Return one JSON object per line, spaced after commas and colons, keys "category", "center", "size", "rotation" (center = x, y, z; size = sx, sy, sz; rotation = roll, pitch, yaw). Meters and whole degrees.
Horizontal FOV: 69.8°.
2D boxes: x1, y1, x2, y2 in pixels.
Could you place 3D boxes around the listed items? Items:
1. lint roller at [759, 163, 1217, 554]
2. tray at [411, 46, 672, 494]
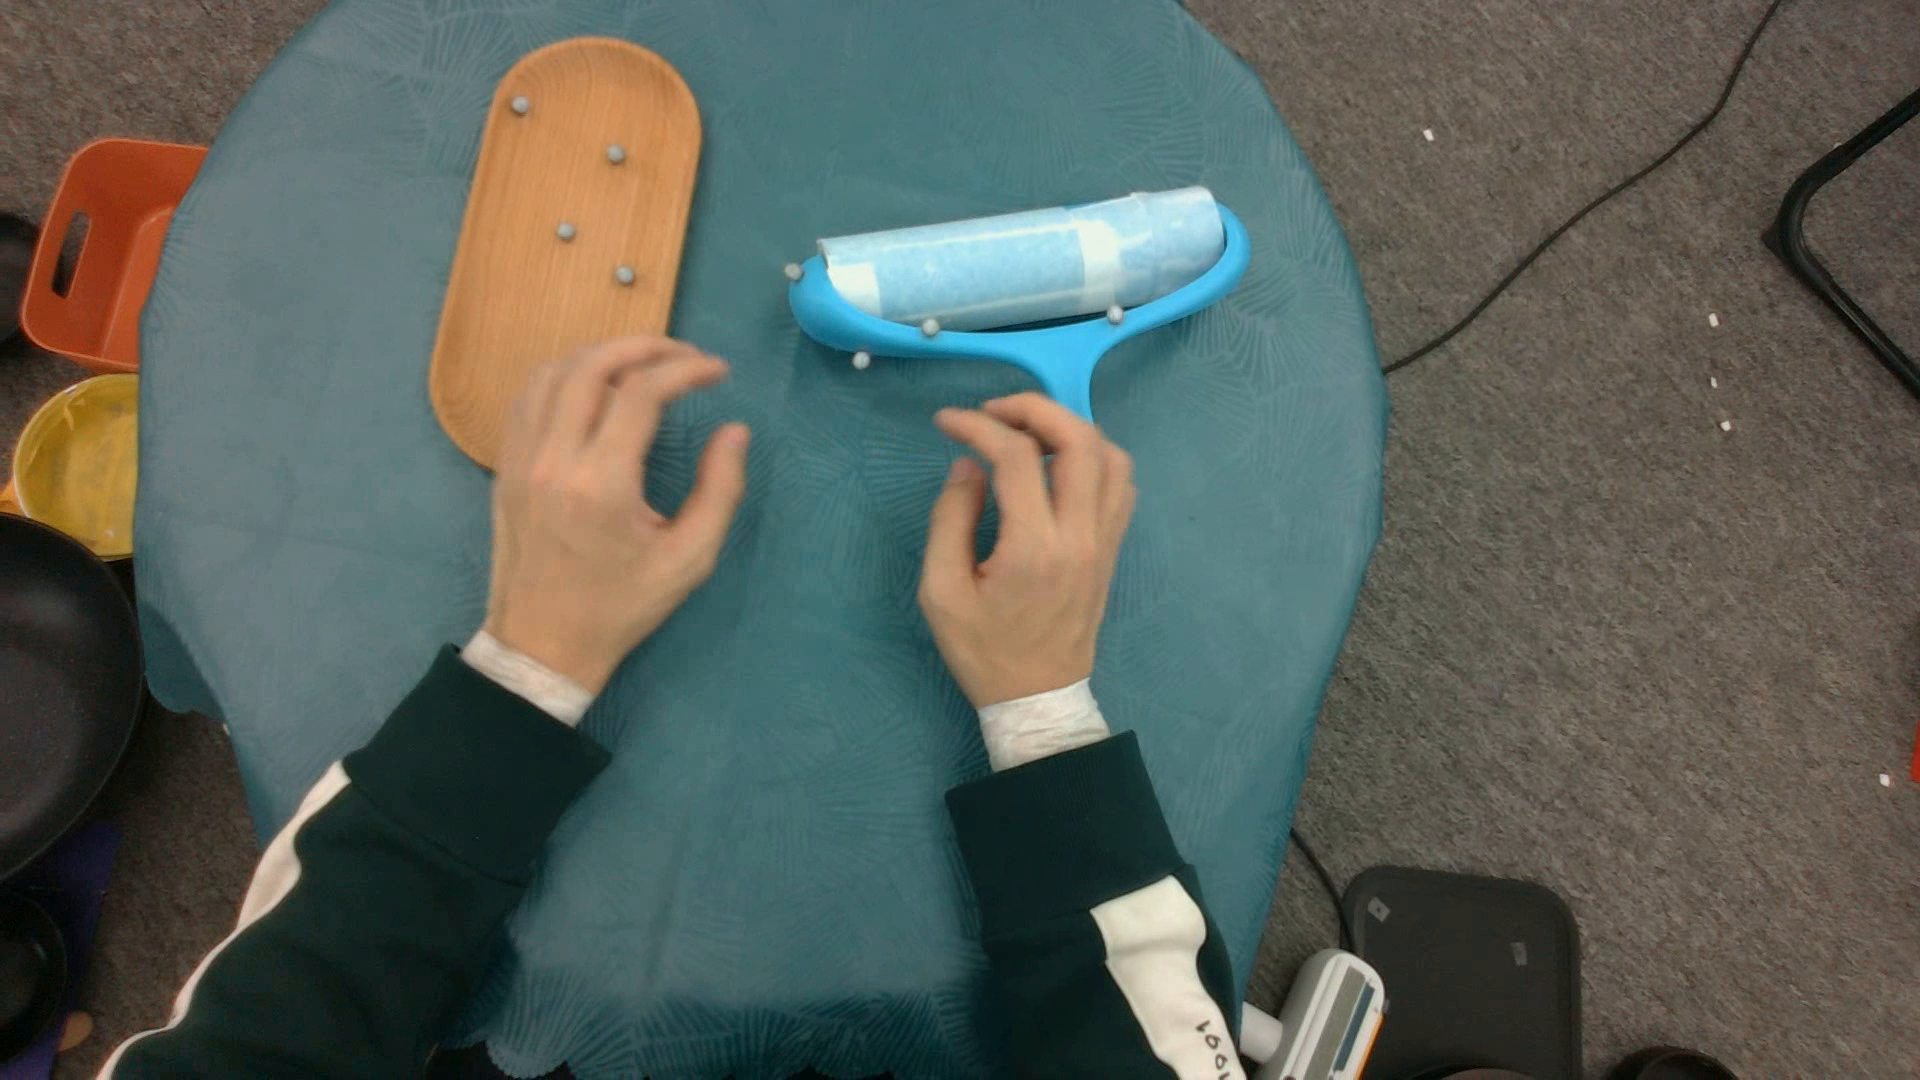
{"category": "lint roller", "center": [0.033, -0.087, 0.660], "size": [0.229, 0.067, 0.180], "rotation": [-15, 77, -14]}
{"category": "tray", "center": [-0.197, -0.133, 0.659], "size": [0.102, 0.020, 0.231], "rotation": [5, 76, -6]}
